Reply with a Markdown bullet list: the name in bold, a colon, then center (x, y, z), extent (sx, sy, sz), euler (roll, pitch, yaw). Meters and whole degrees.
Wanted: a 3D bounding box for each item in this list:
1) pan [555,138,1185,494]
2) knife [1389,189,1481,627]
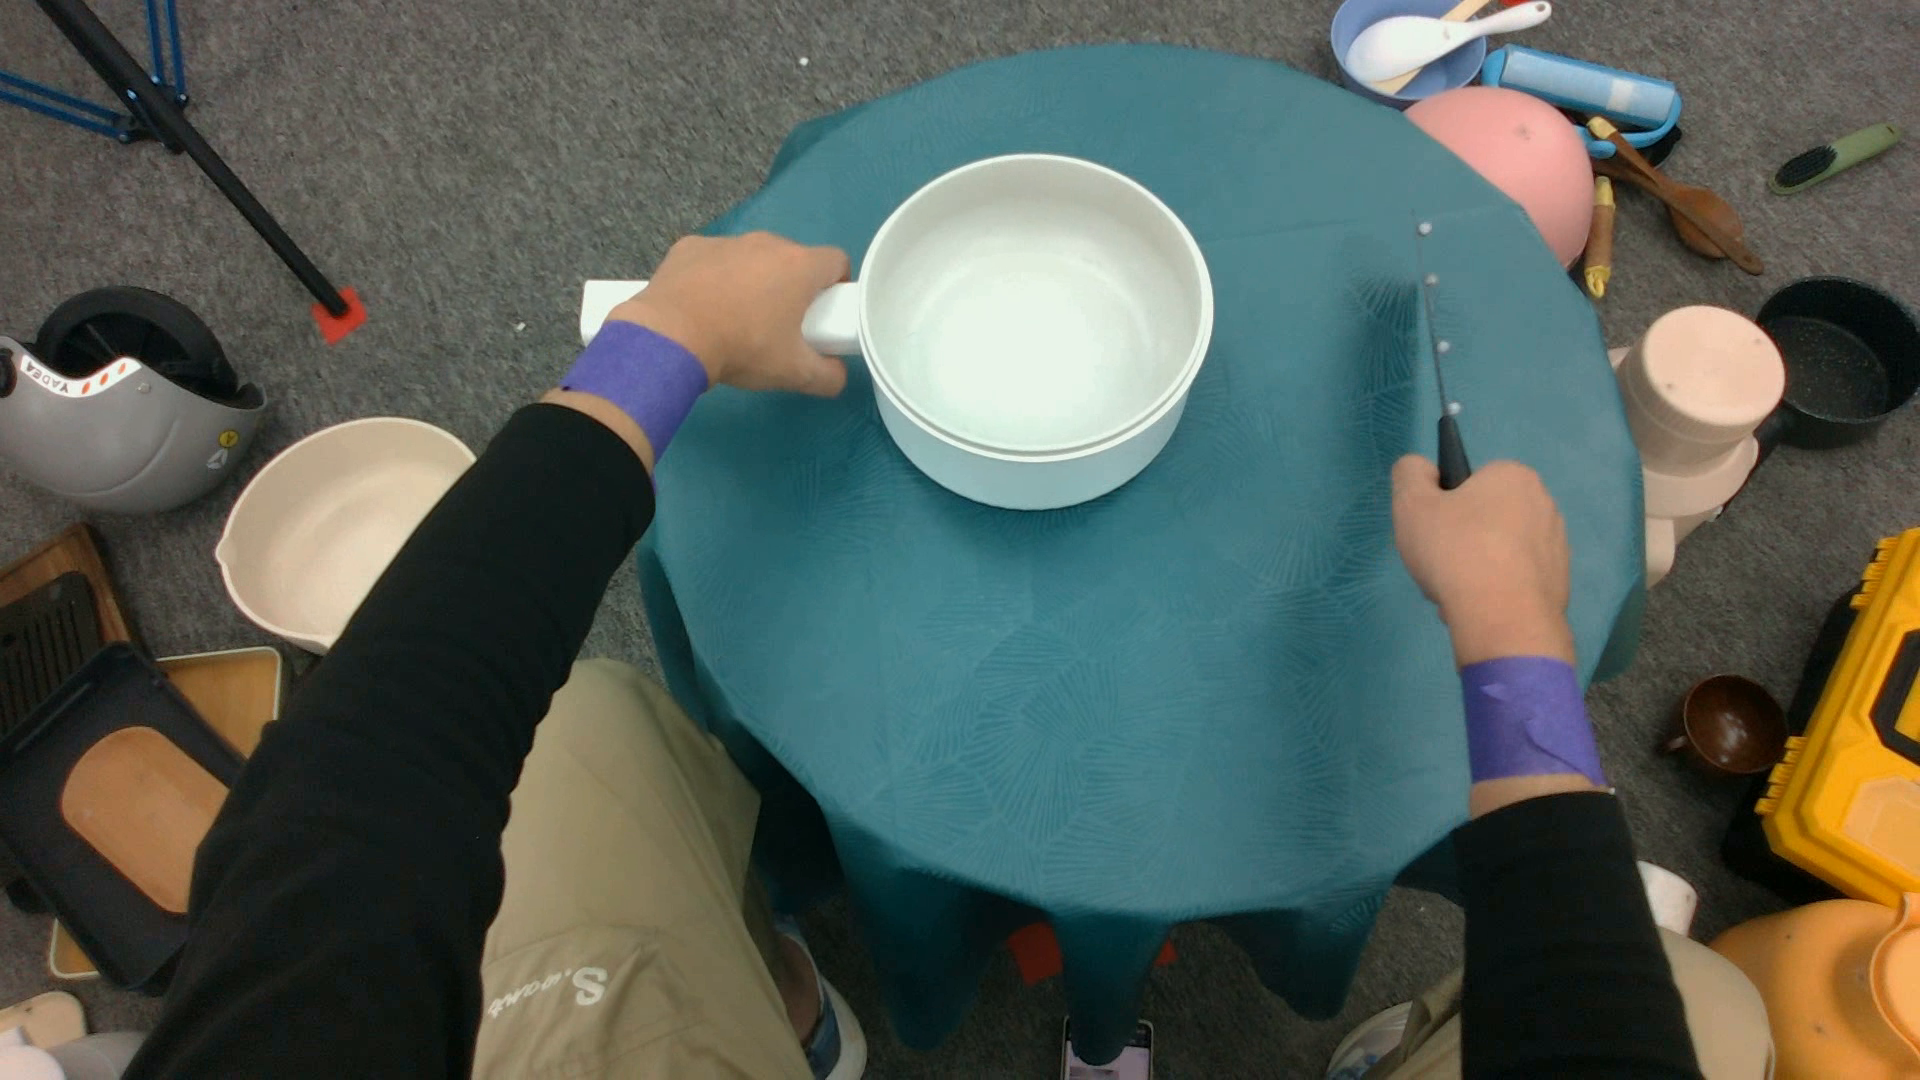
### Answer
- **pan**: center (-0.050, -0.126, 0.815), extent (0.355, 0.102, 0.202), euler (-1, 68, 1)
- **knife**: center (0.257, -0.079, 0.764), extent (0.021, 0.080, 0.304), euler (-7, 47, 16)
